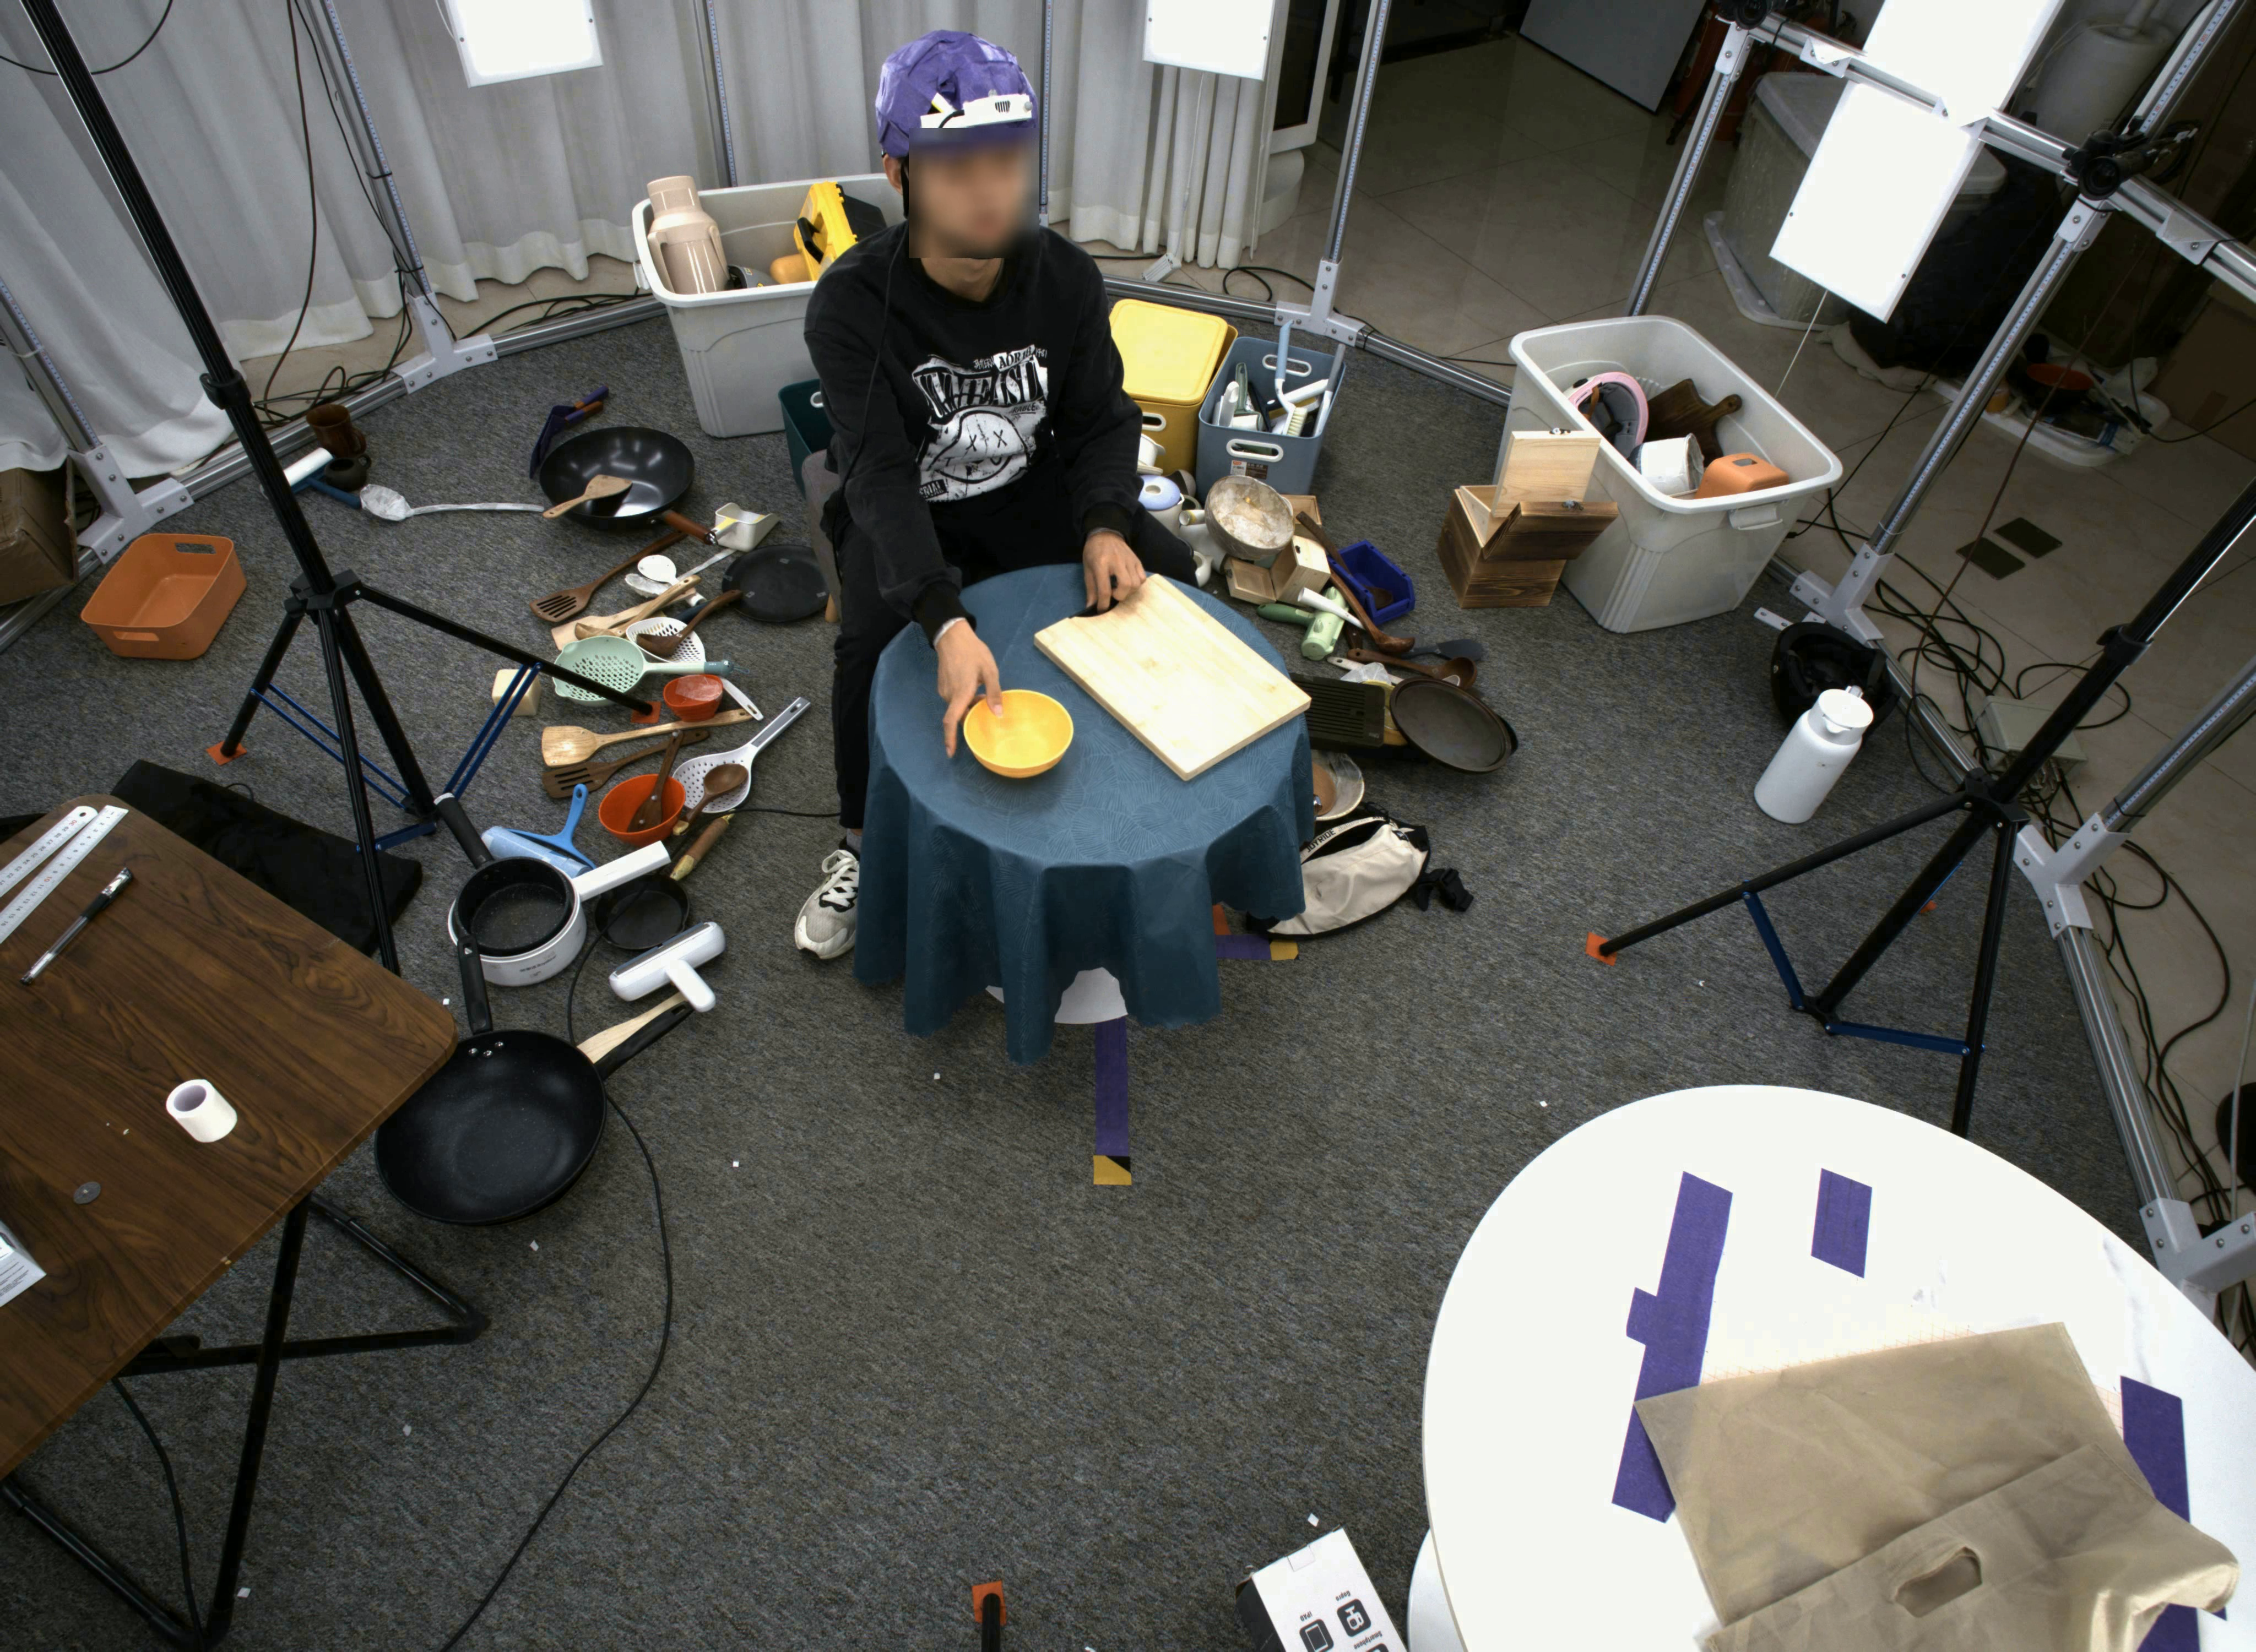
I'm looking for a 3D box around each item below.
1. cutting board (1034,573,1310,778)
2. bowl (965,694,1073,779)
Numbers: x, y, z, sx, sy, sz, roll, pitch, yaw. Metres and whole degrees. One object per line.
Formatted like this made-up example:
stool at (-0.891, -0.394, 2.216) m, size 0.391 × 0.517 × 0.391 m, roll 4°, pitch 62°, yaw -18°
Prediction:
cutting board at (0.060, -0.228, 1.877) m, size 0.252 × 0.023 × 0.354 m, roll -31°, pitch 57°, yaw -27°
bowl at (-0.148, -0.109, 1.733) m, size 0.145 × 0.058 × 0.149 m, roll 3°, pitch 47°, yaw -3°
